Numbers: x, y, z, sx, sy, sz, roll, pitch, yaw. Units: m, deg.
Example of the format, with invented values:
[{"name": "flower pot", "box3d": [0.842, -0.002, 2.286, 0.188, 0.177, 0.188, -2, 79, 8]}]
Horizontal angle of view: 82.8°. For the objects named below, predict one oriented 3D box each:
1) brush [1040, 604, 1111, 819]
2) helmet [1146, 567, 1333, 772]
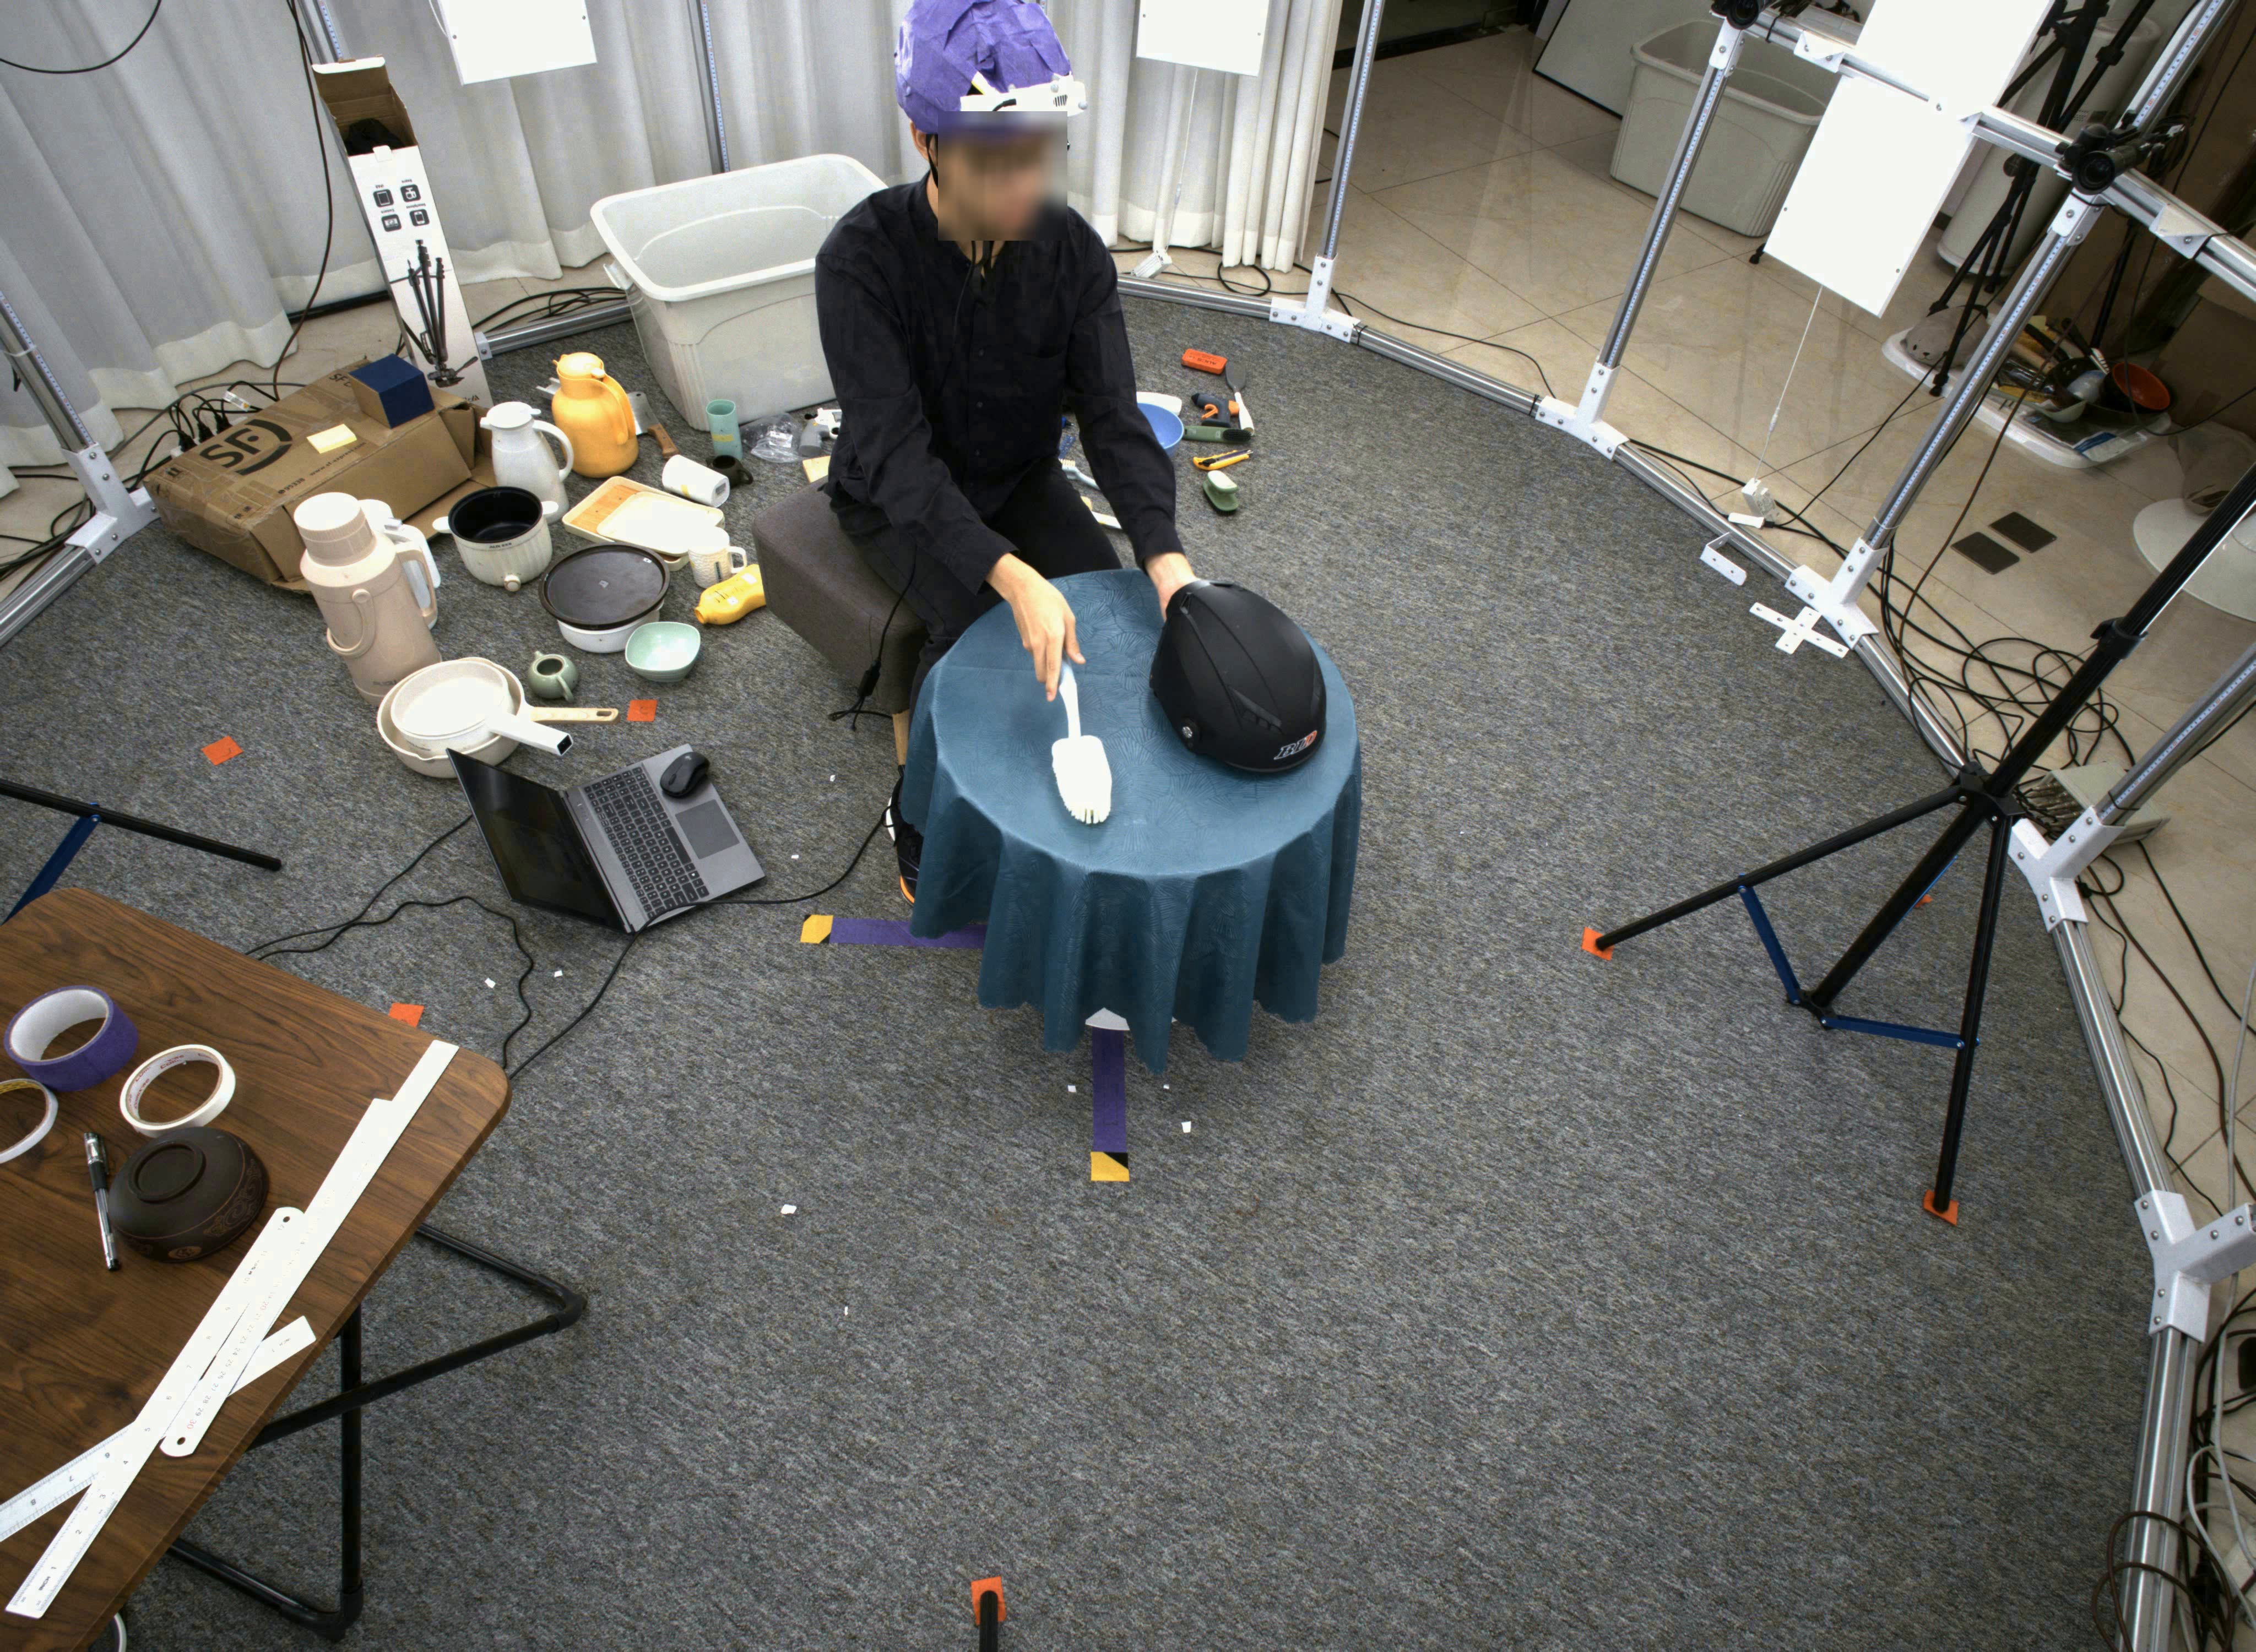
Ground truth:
[{"name": "brush", "box3d": [-0.076, -0.153, 1.740, 0.082, 0.084, 0.332, 13, 53, -43]}, {"name": "helmet", "box3d": [0.158, -0.222, 1.764, 0.248, 0.168, 0.281, -26, 62, -23]}]
